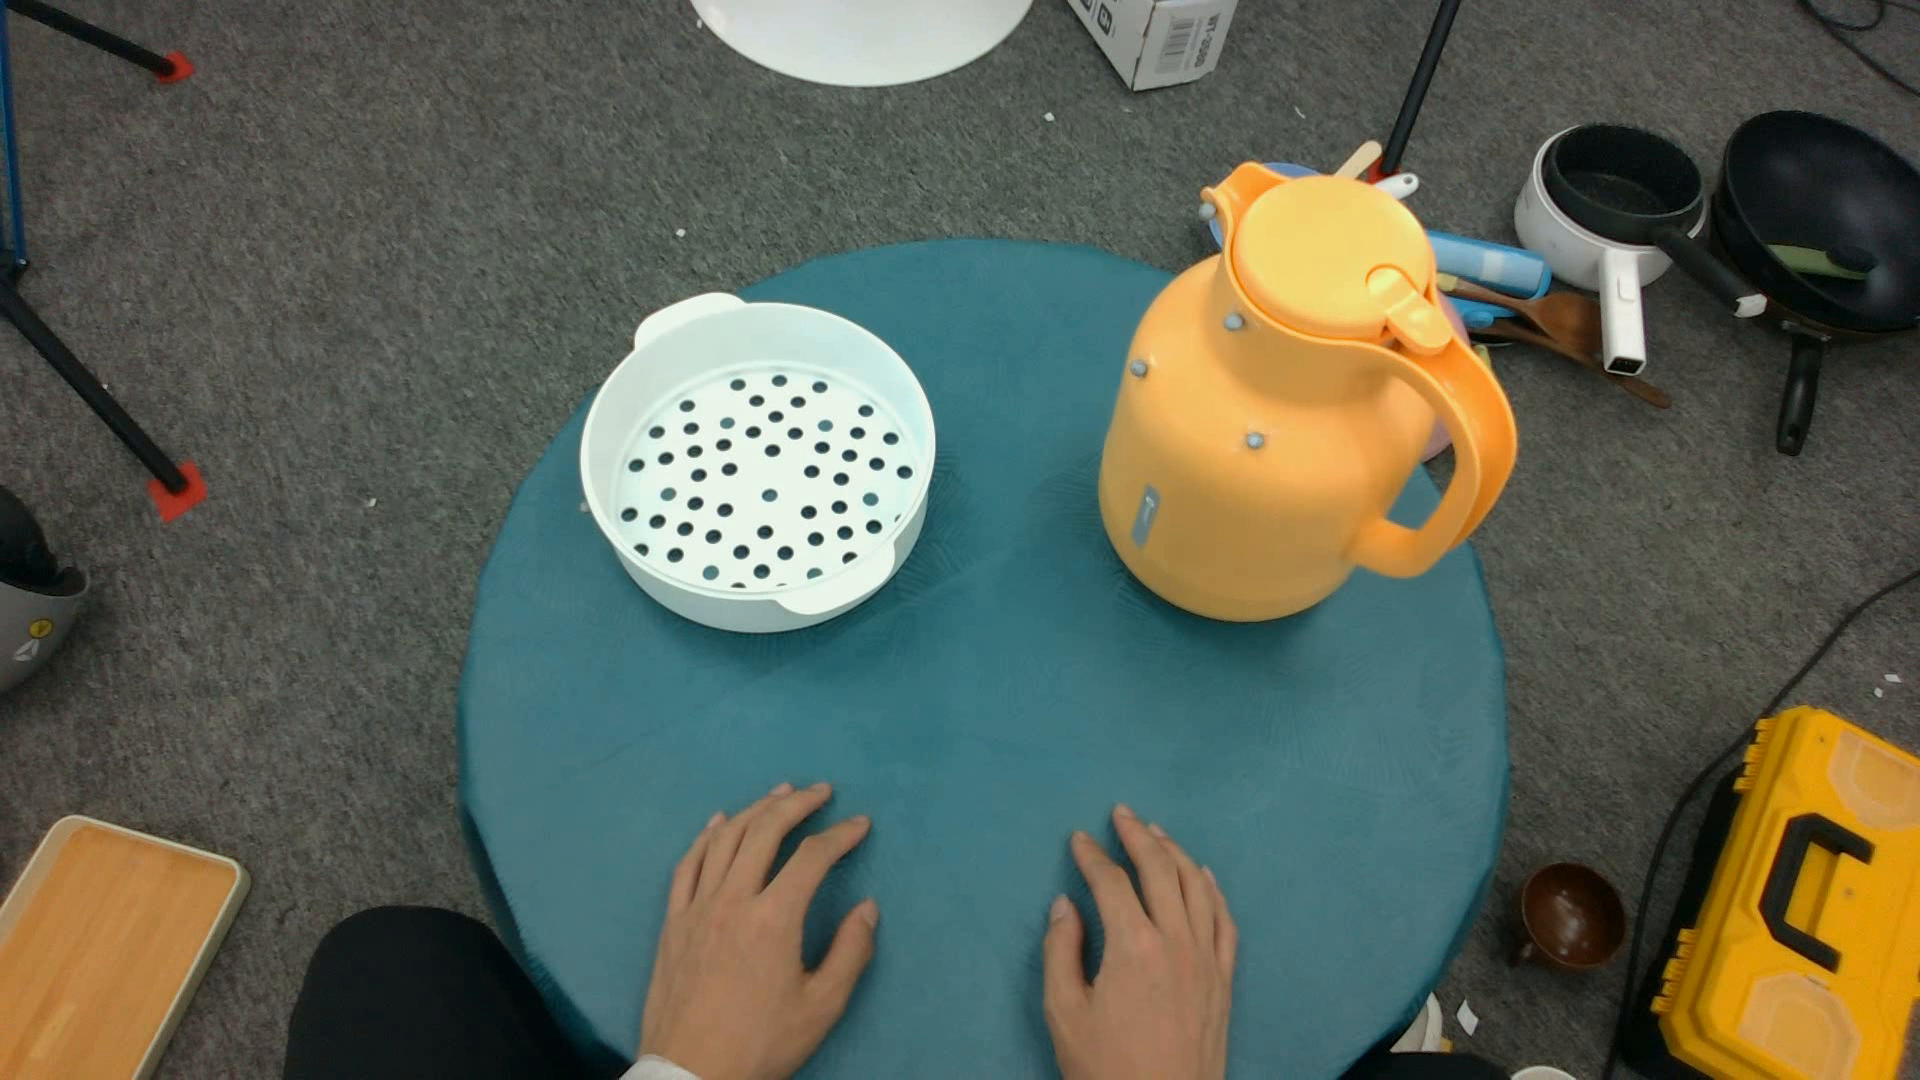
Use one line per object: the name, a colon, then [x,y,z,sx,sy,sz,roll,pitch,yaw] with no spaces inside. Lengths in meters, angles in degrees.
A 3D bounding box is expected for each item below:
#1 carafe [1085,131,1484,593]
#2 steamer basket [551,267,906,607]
carafe: [0.166,-0.075,0.725,0.164,0.259,0.202,-34,67,-16]
steamer basket: [-0.133,-0.057,0.813,0.202,0.069,0.231,-26,66,-17]
